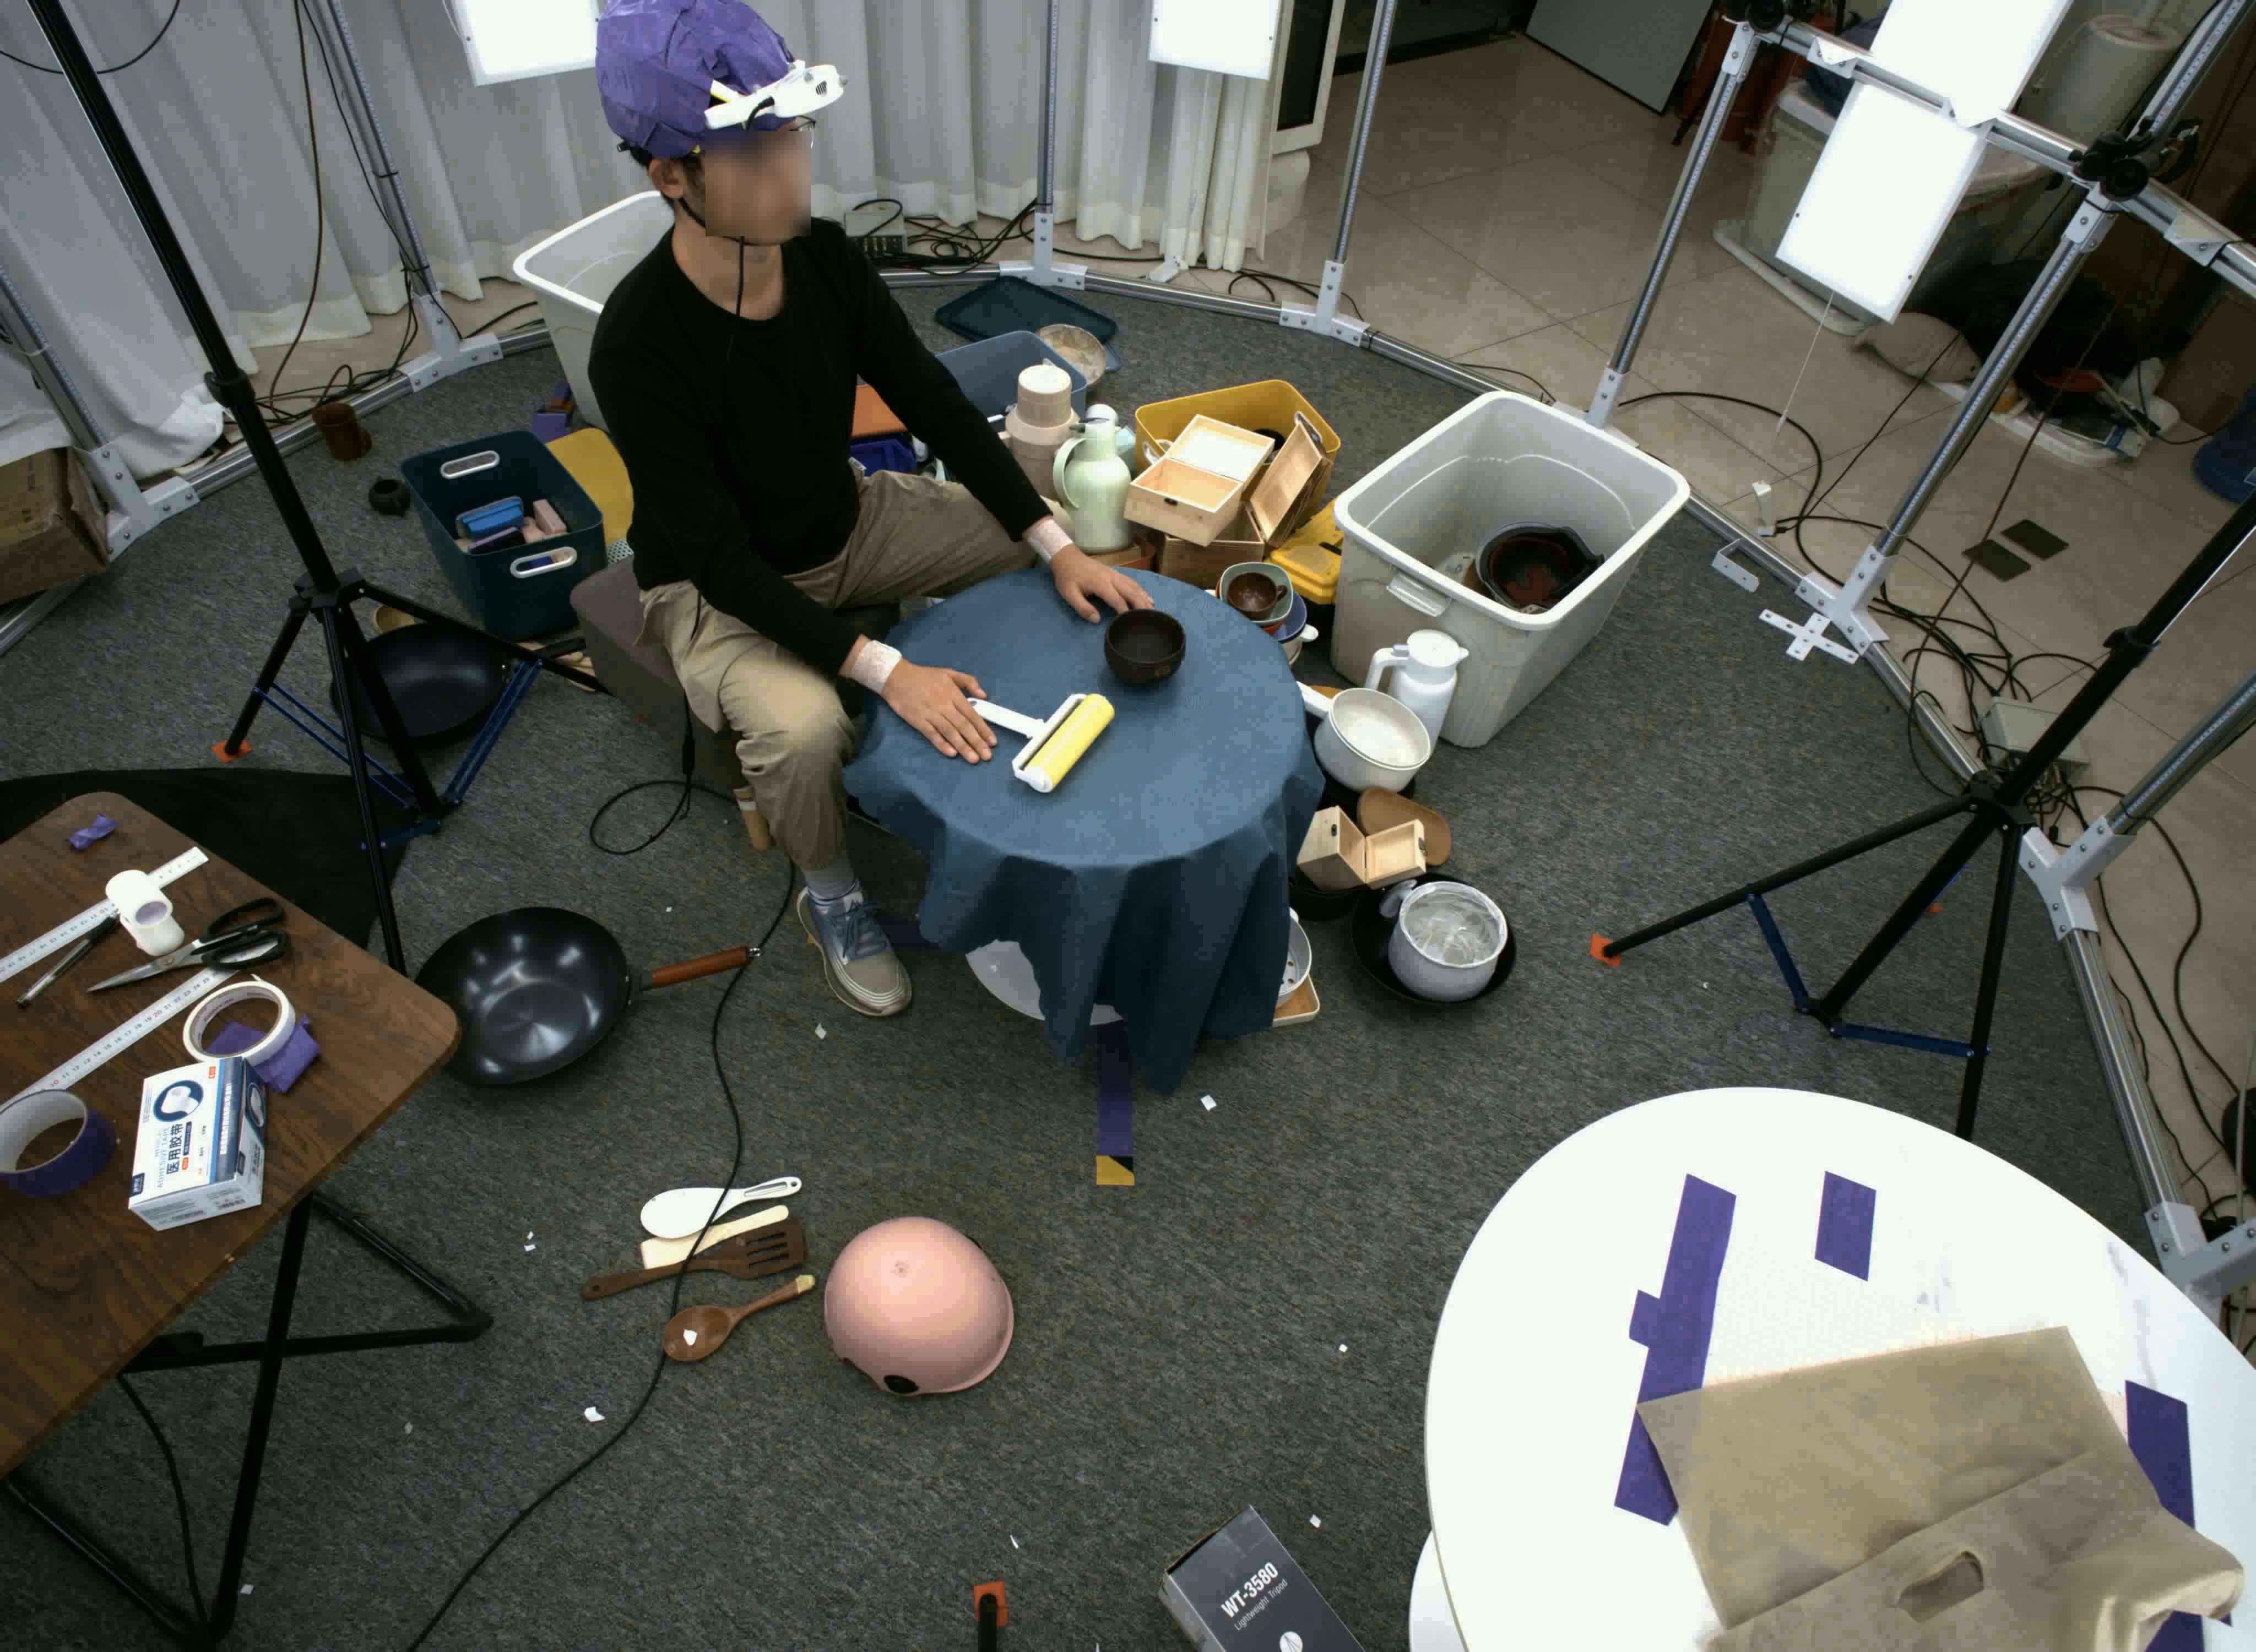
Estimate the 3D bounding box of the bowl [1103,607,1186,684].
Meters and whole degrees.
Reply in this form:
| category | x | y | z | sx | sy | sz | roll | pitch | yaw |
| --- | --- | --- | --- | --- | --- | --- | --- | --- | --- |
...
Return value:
| category | x | y | z | sx | sy | sz | roll | pitch | yaw |
| --- | --- | --- | --- | --- | --- | --- | --- | --- | --- |
| bowl | 0.022 | -0.251 | 1.840 | 0.118 | 0.068 | 0.121 | 3 | 49 | -3 |

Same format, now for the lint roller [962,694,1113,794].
| category | x | y | z | sx | sy | sz | roll | pitch | yaw |
| --- | --- | --- | --- | --- | --- | --- | --- | --- | --- |
| lint roller | -0.142 | -0.142 | 1.751 | 0.193 | 0.050 | 0.177 | 27 | 52 | 13 |
